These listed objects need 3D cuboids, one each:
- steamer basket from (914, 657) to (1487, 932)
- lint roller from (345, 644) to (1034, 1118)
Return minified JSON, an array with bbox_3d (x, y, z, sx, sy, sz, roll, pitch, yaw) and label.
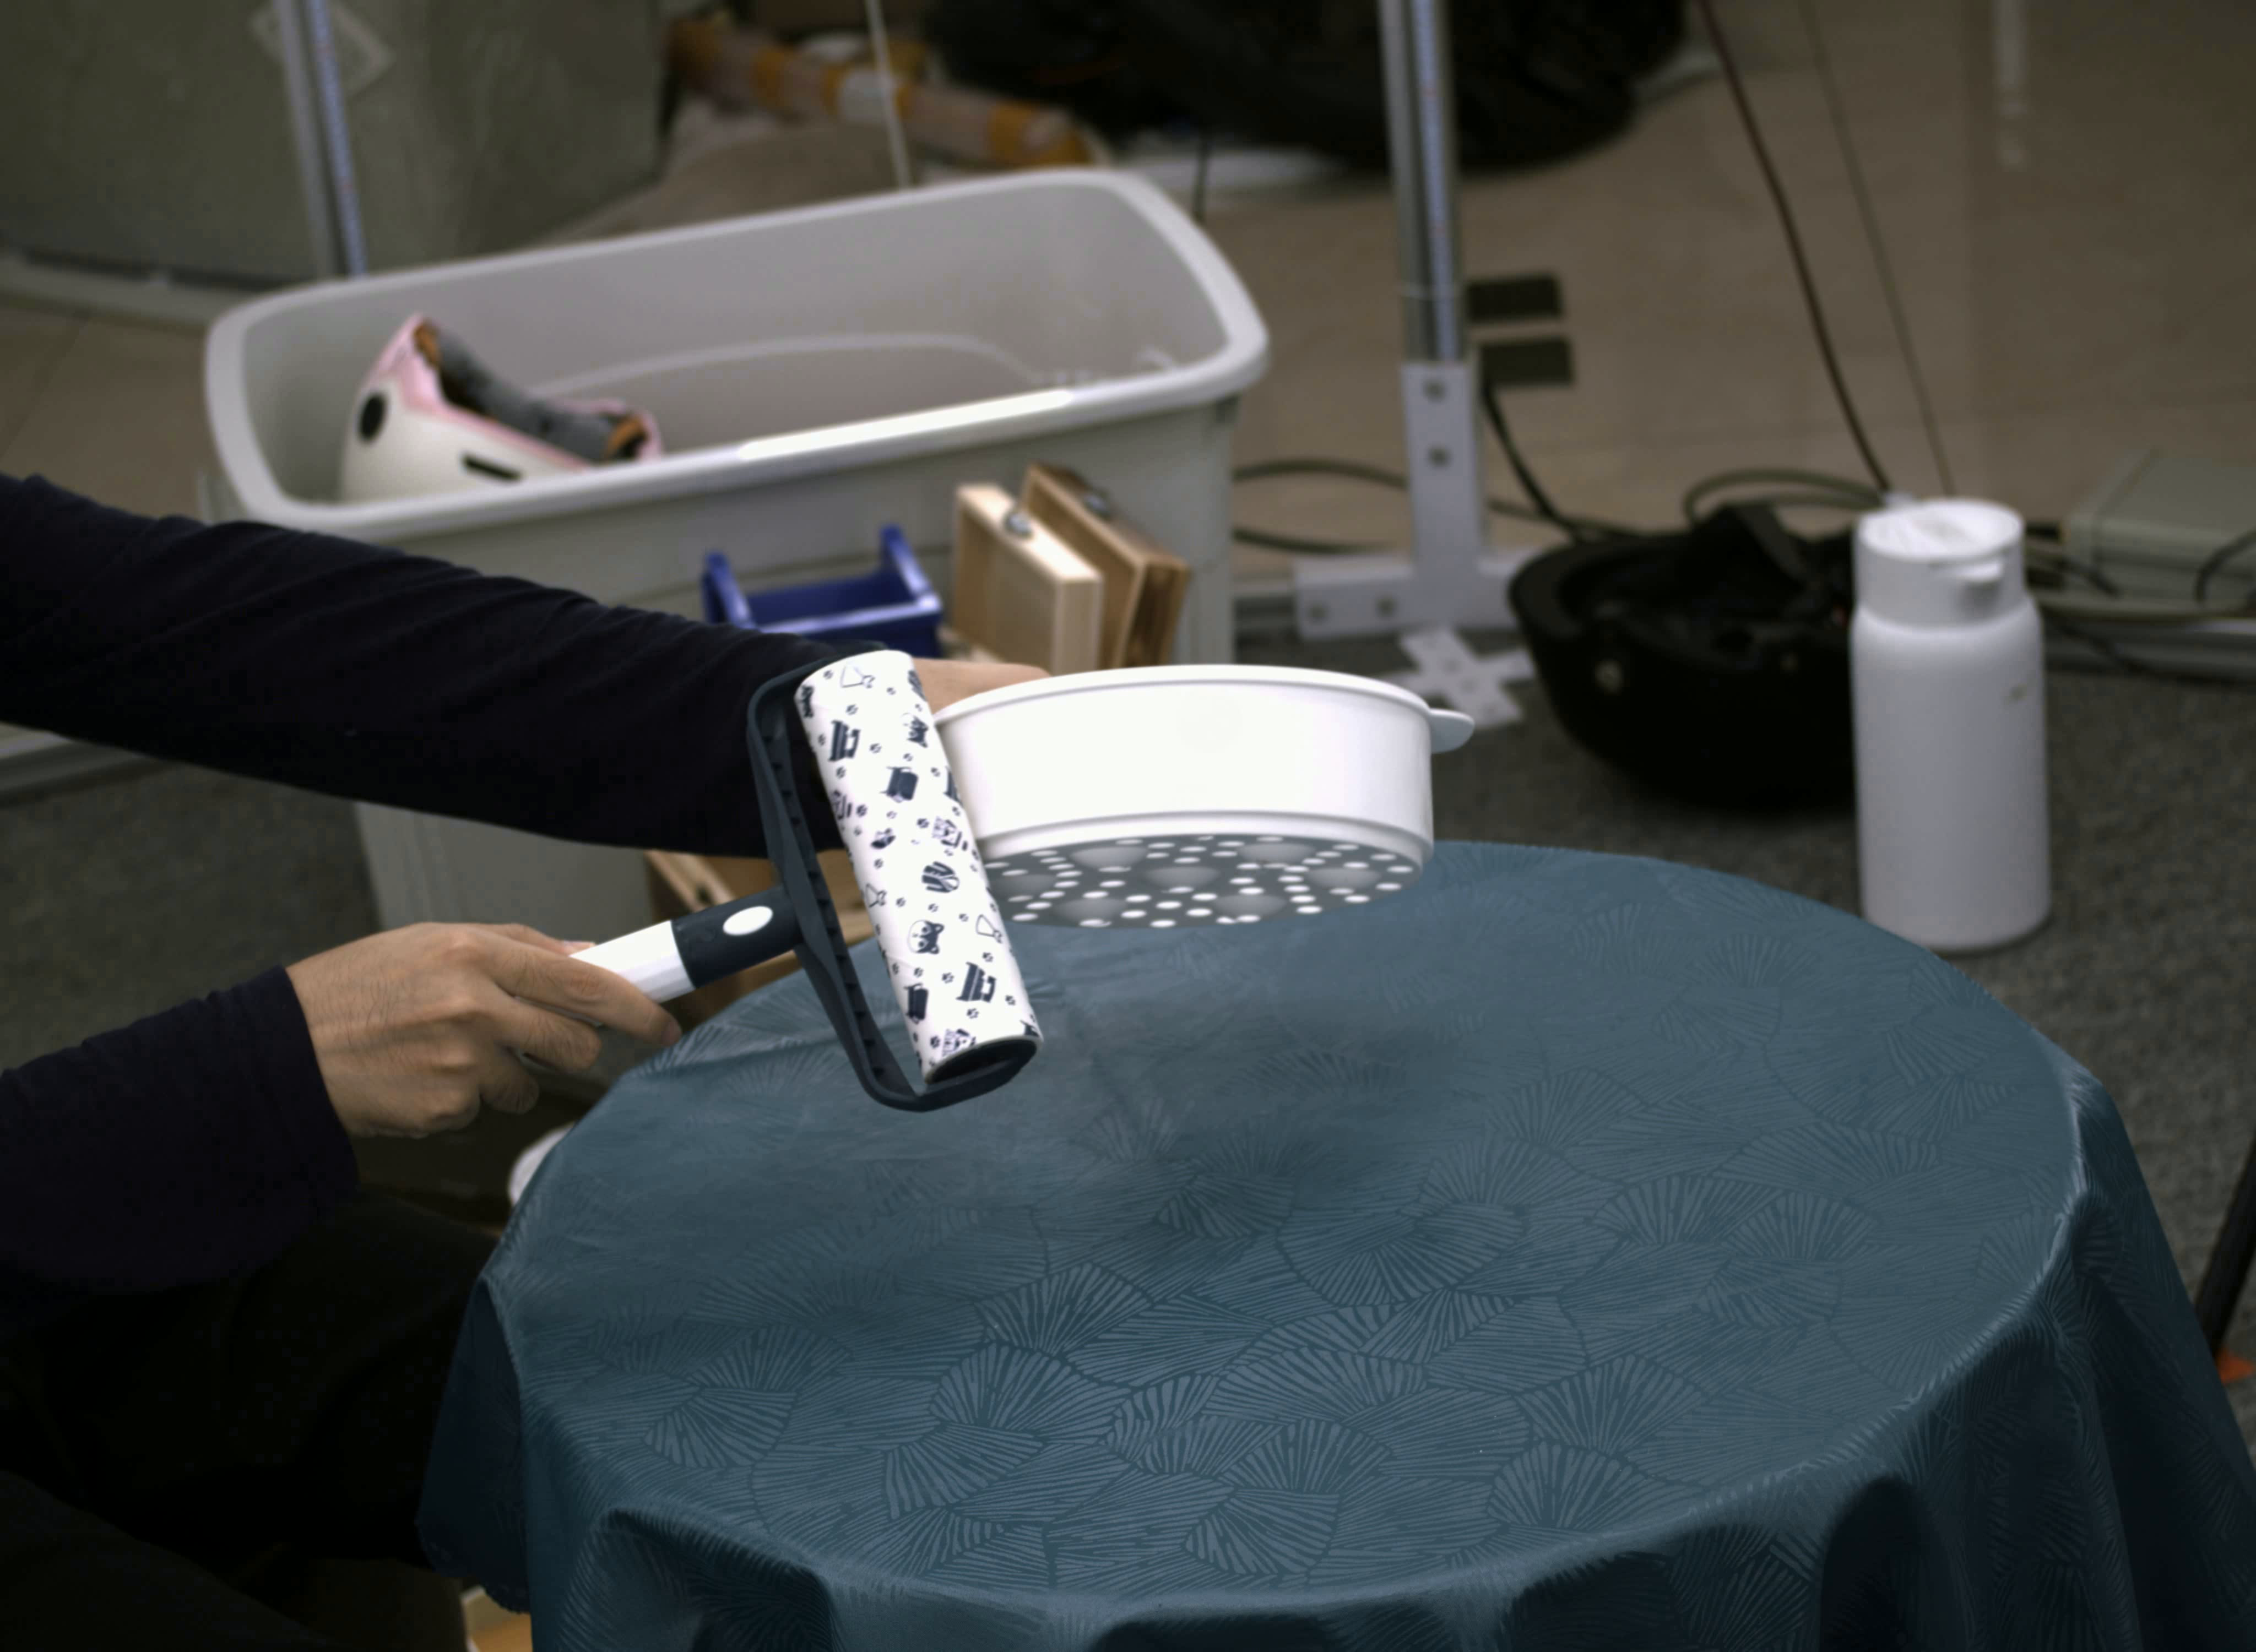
[{"bbox_3d":[0.024,-0.007,2.161,0.230,0.069,0.203,-3,-12,-4],"label":"steamer basket"},{"bbox_3d":[-0.174,0.053,2.091,0.247,0.175,0.051,-21,-16,0],"label":"lint roller"}]
